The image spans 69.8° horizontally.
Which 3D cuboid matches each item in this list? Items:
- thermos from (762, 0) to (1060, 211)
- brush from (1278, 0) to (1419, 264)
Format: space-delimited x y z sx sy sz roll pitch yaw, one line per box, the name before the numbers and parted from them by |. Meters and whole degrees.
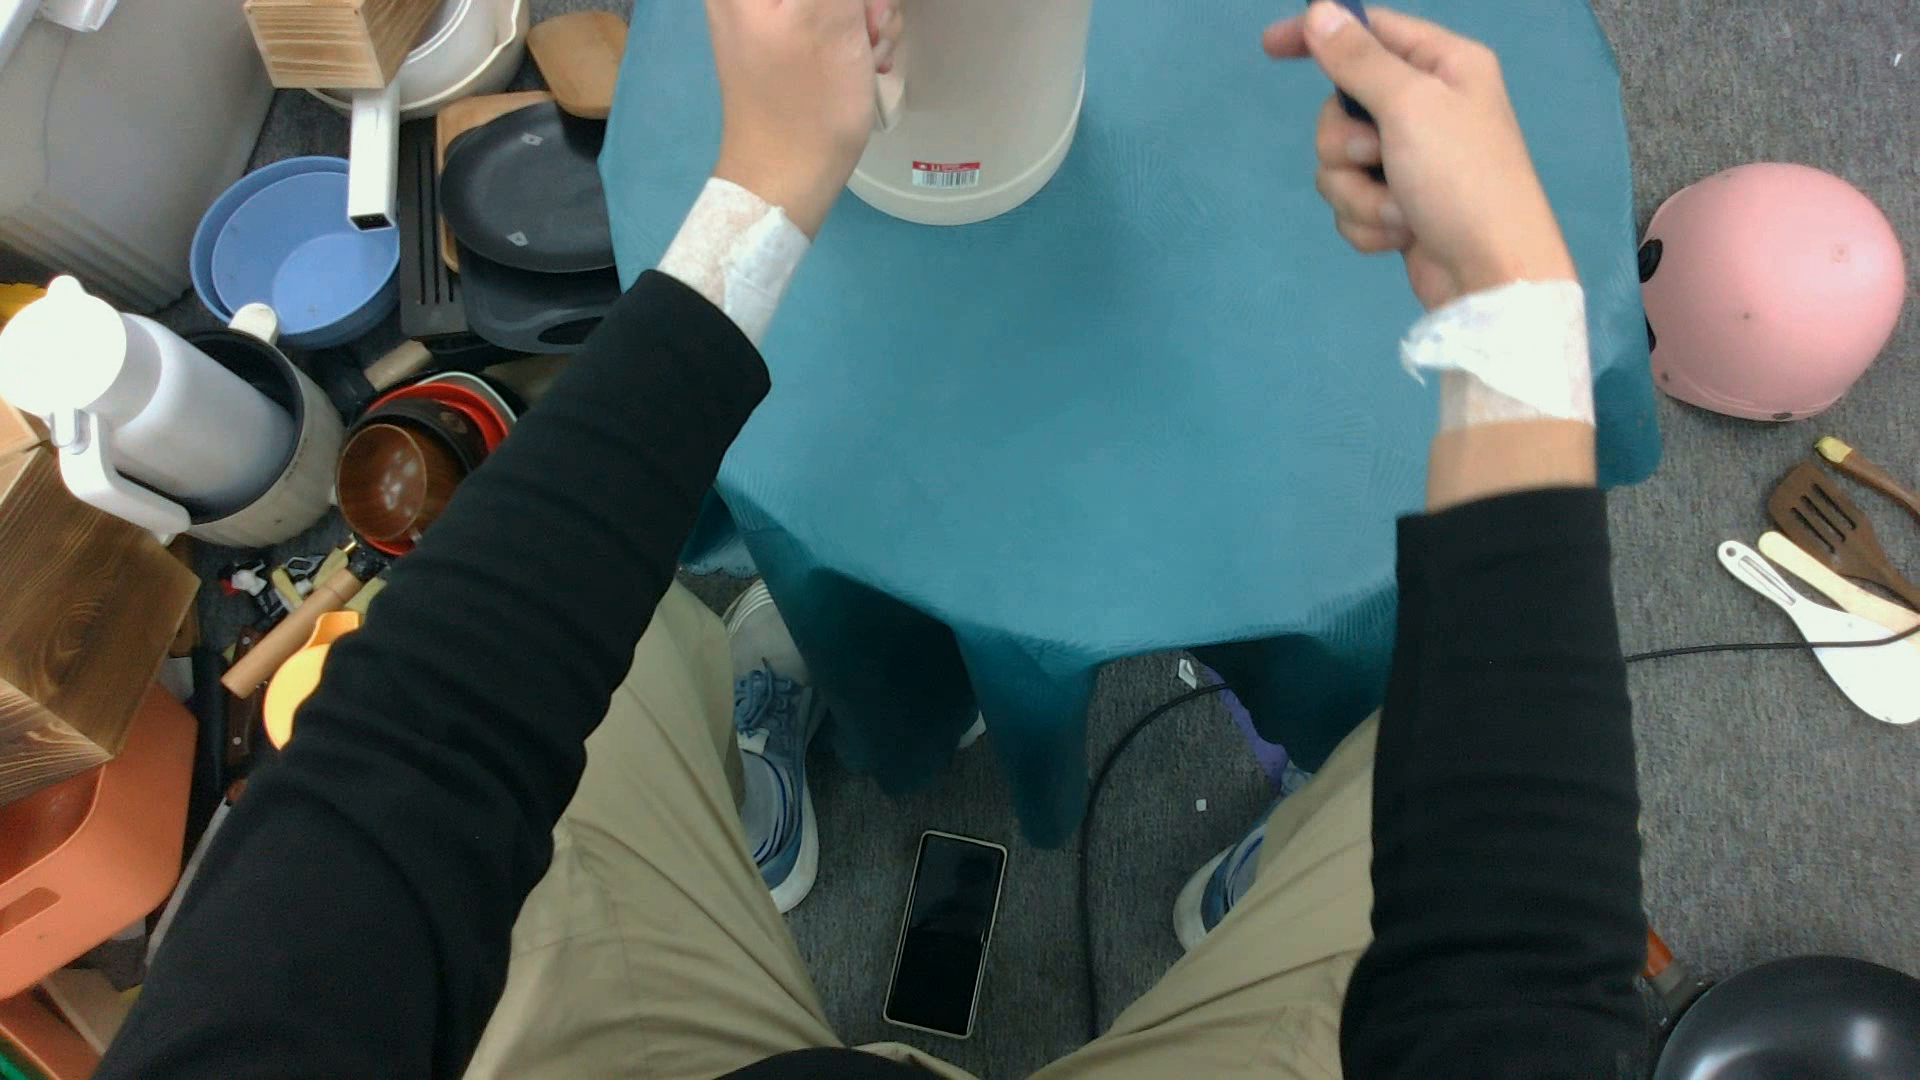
thermos | -0.029 -0.297 0.617 0.175 0.405 0.207 20 77 2
brush | 0.142 -0.250 0.574 0.096 0.033 0.273 -27 85 -11
